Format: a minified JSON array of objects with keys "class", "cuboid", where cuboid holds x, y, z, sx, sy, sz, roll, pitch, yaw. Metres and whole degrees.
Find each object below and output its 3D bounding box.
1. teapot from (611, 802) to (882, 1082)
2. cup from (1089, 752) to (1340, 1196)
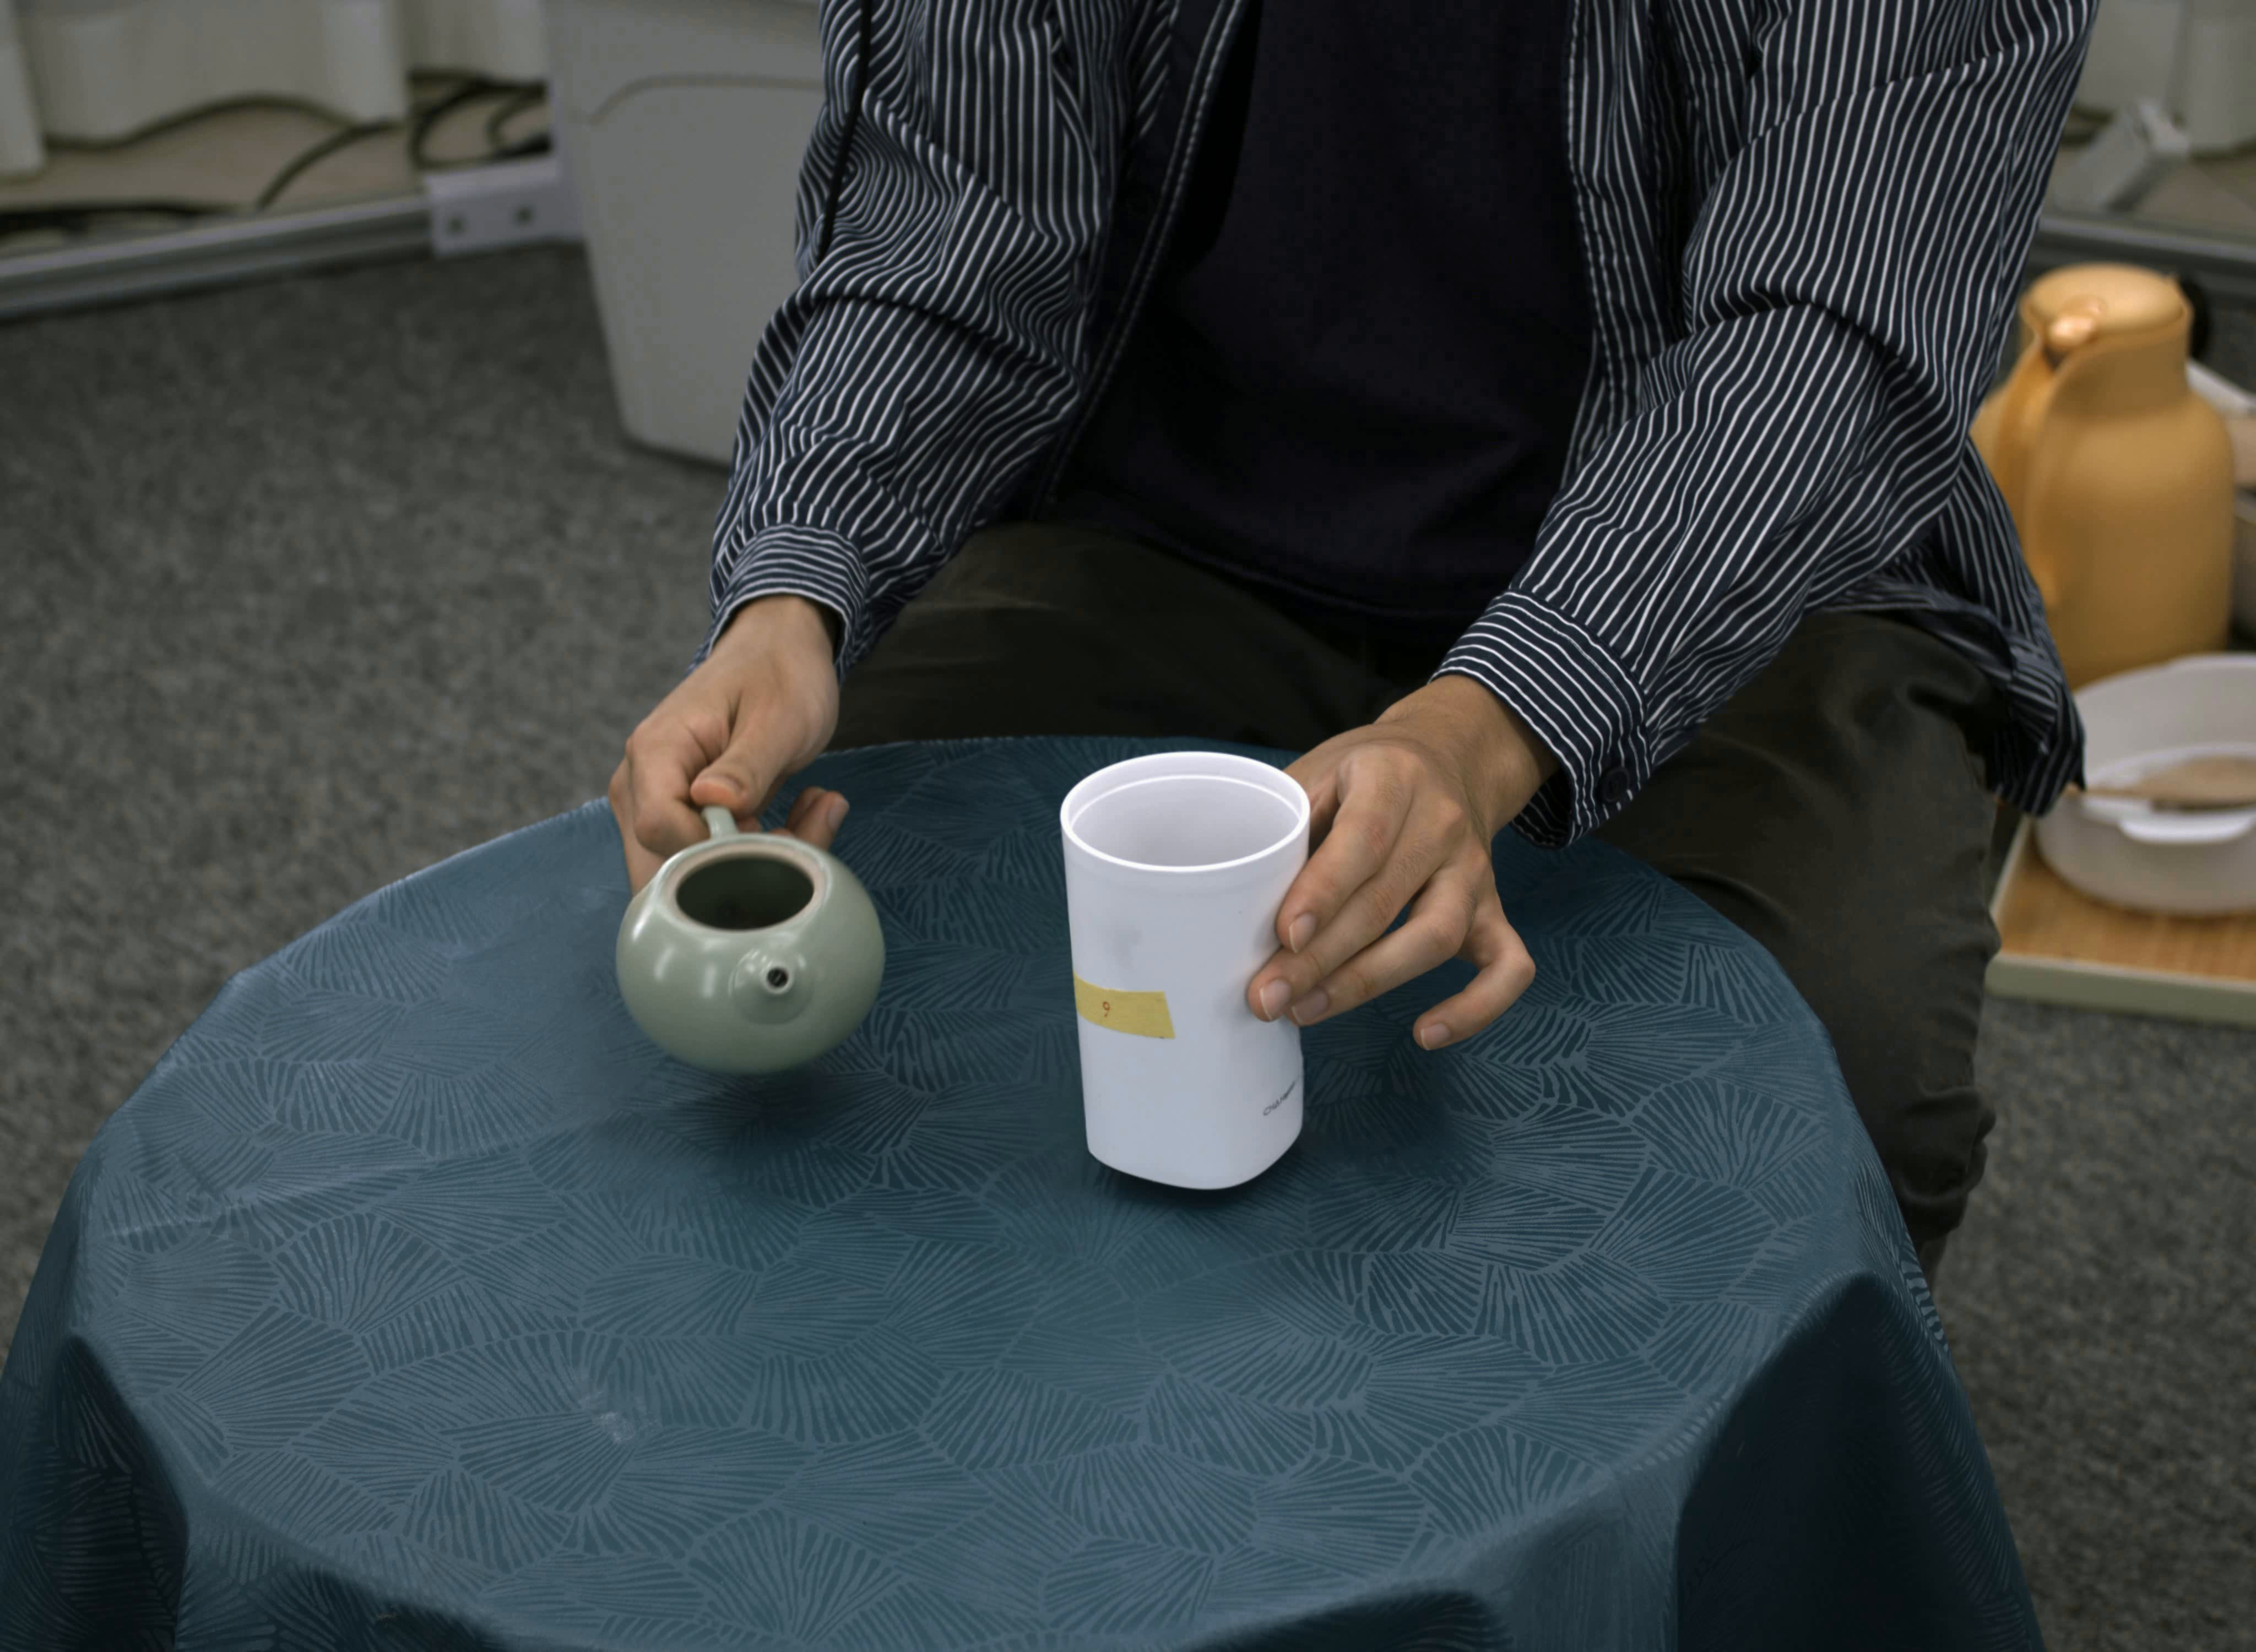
[{"class":"teapot","cuboid":[-0.130,0.040,1.903,0.091,0.060,0.130,-9,35,-6]},{"class":"cup","cuboid":[0.030,0.050,1.833,0.081,0.124,0.083,-2,27,1]}]
